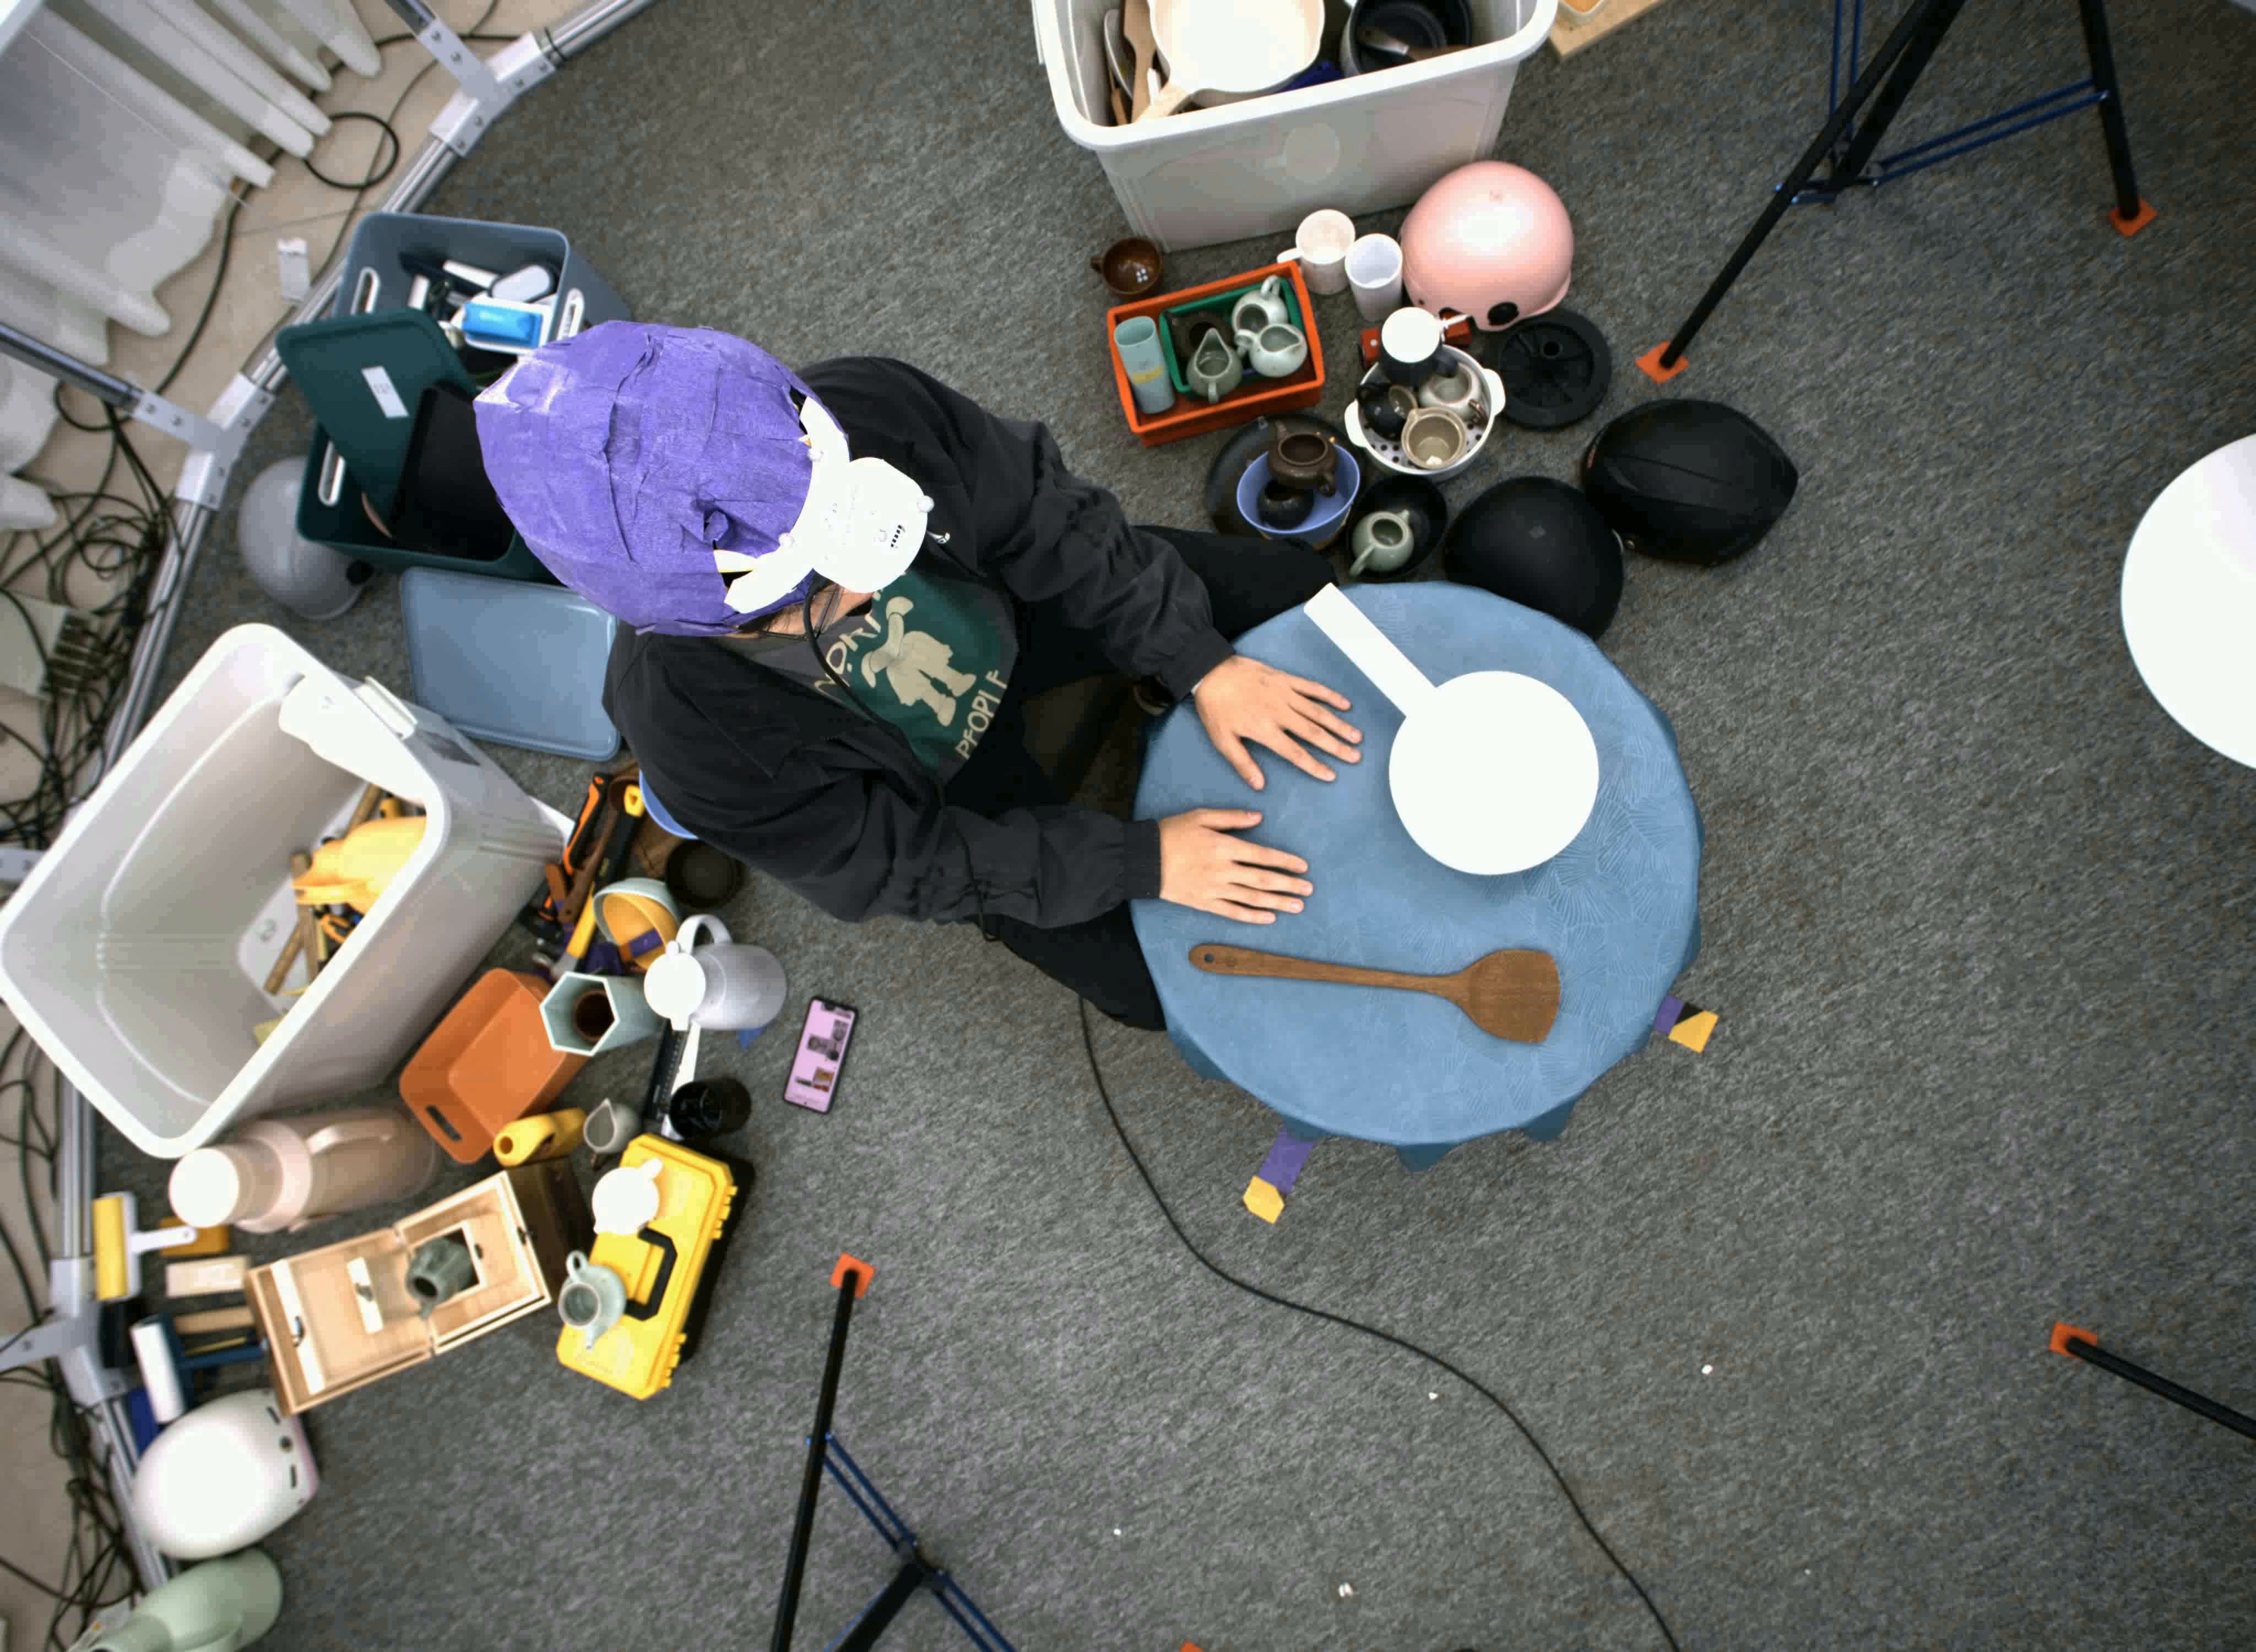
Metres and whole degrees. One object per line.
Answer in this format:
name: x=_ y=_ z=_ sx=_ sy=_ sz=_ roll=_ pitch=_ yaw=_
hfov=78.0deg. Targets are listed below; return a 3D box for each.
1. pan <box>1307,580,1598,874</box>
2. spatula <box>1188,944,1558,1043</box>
pan: x=0.318 y=-0.107 z=1.410 sx=0.202 sy=0.102 sz=0.353 roll=-43 pitch=79 yaw=6
spatula: x=0.253 y=0.157 z=1.450 sx=0.387 sy=0.016 sz=0.096 roll=6 pitch=87 yaw=11
